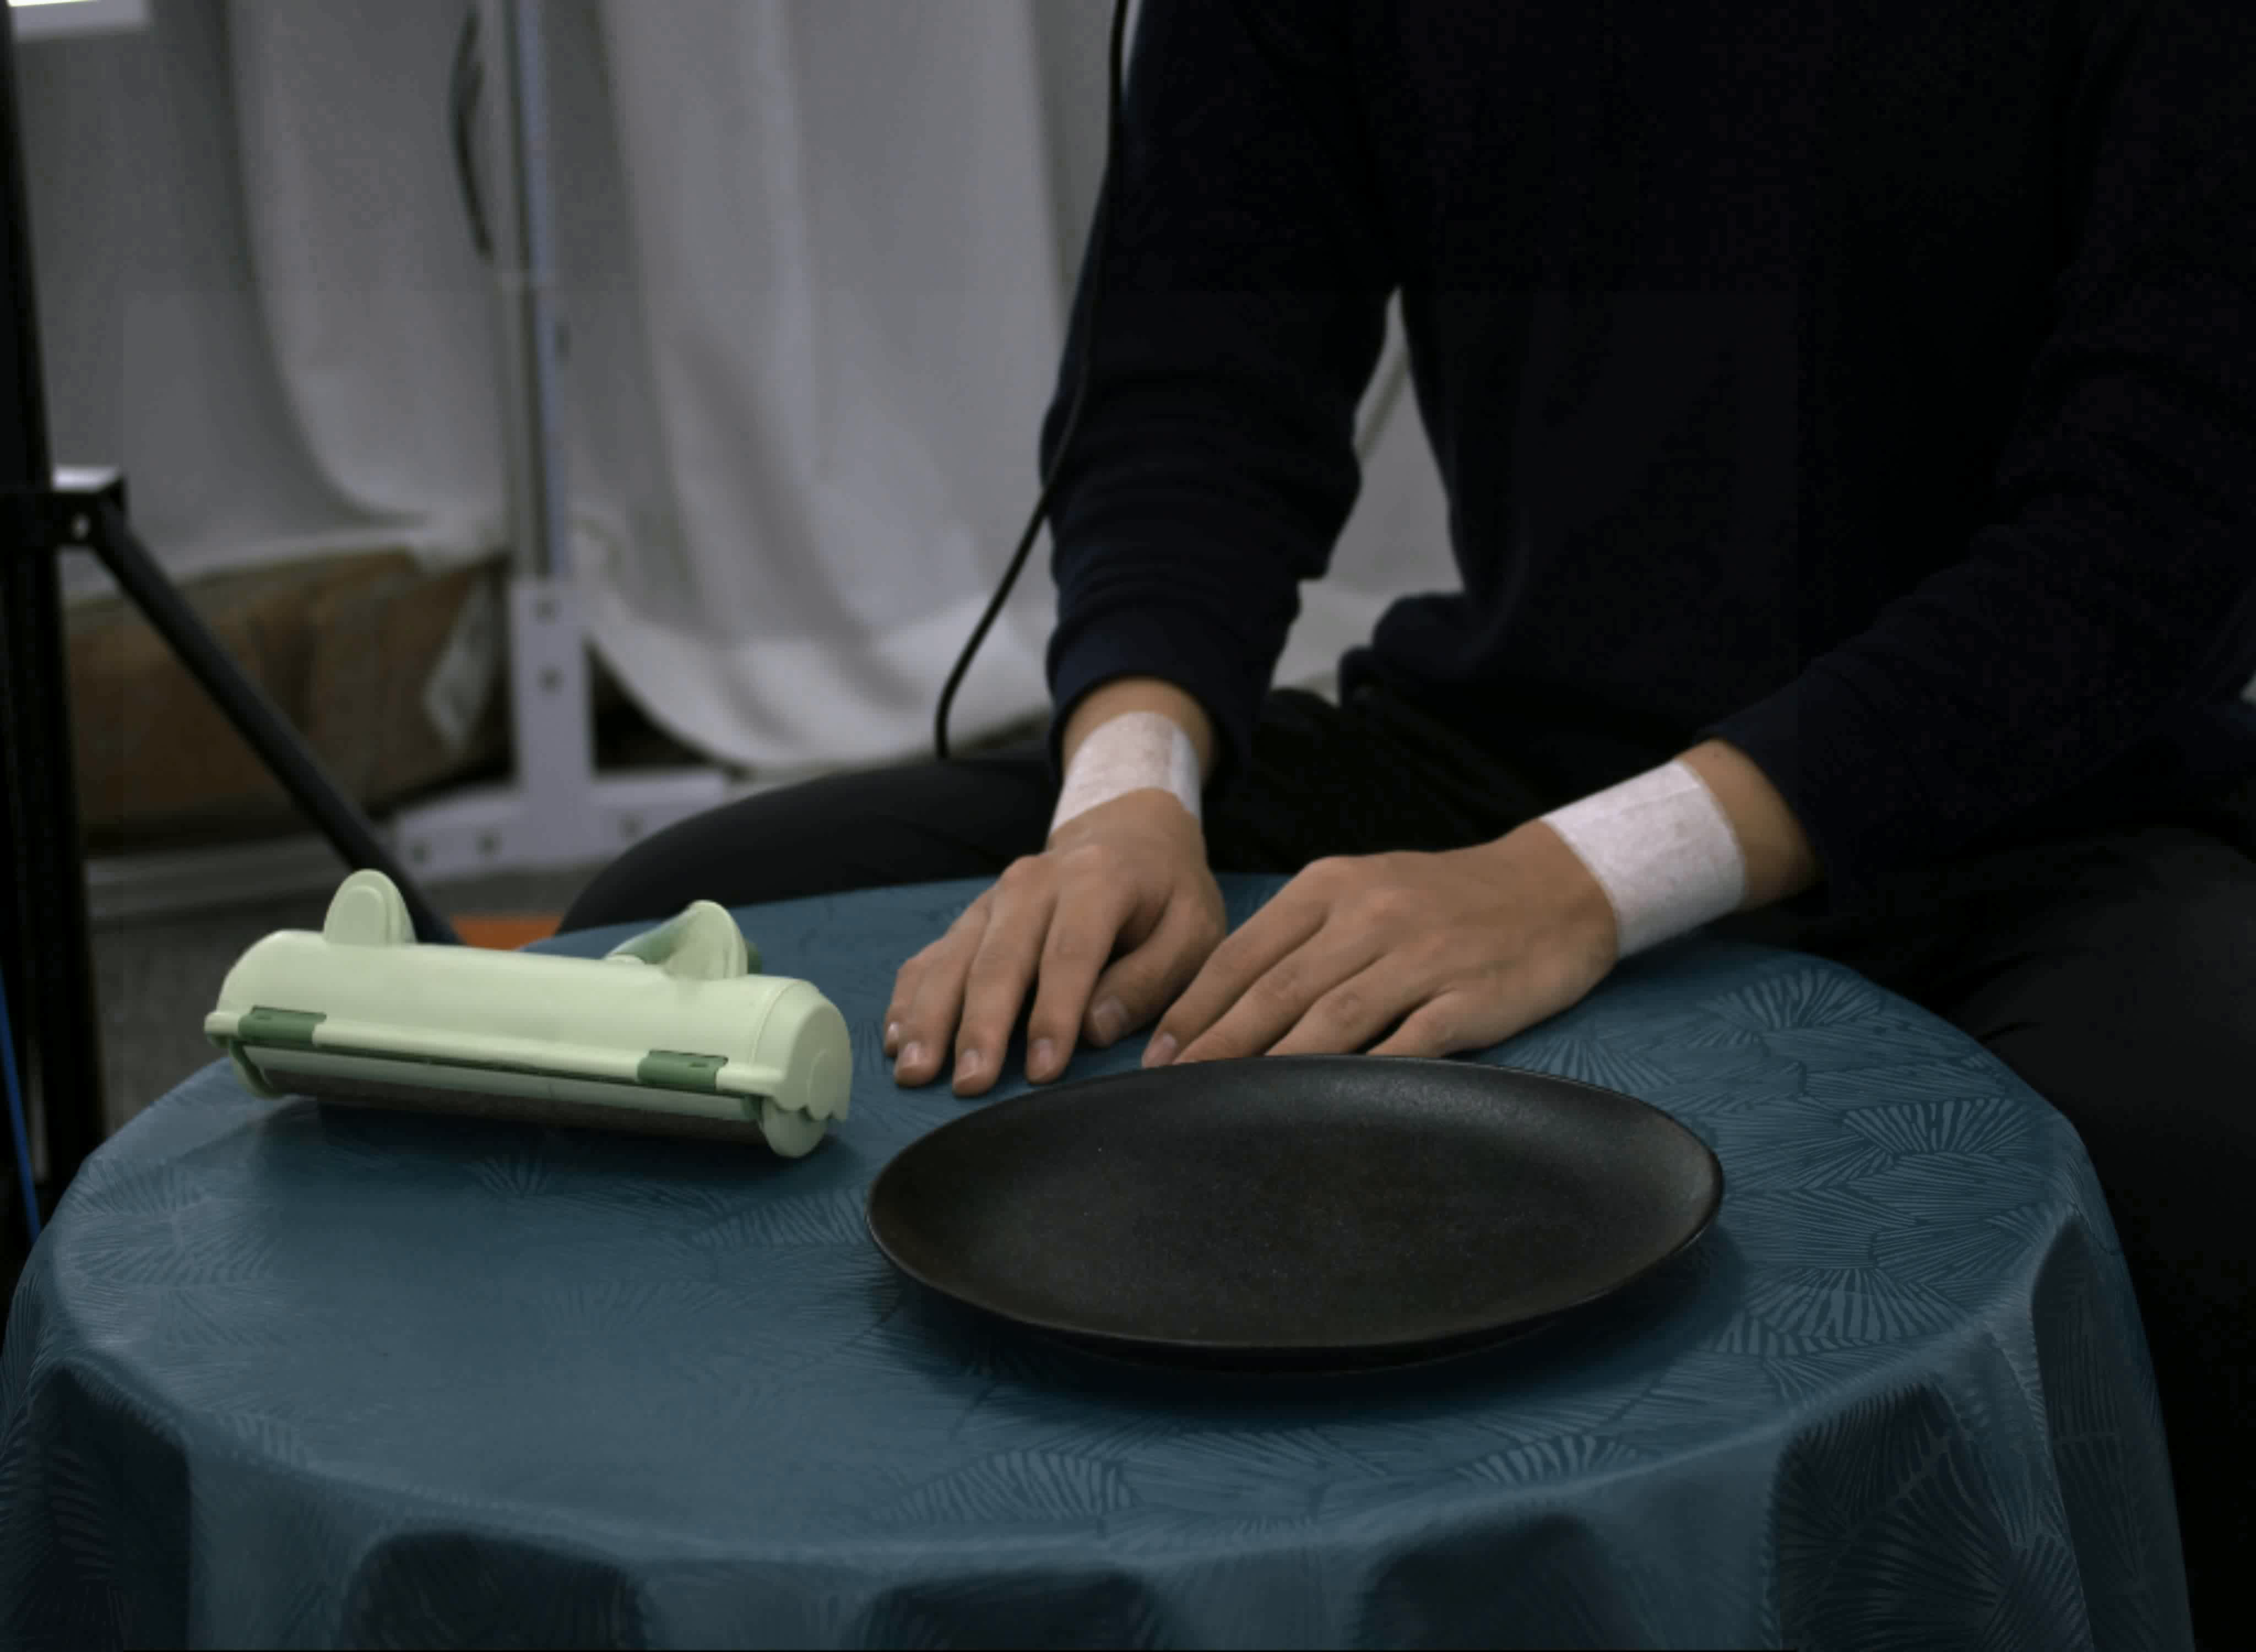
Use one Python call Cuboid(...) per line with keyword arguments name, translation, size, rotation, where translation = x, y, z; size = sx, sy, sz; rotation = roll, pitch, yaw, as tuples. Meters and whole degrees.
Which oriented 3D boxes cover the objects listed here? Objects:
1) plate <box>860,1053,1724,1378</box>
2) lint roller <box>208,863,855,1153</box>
Cuboid(name="plate", translation=(0.046, 0.112, 1.492), size=(0.243, 0.023, 0.245), rotation=(-3, 16, -1))
Cuboid(name="lint roller", translation=(-0.163, 0.038, 1.677), size=(0.201, 0.082, 0.181), rotation=(5, 24, 22))
